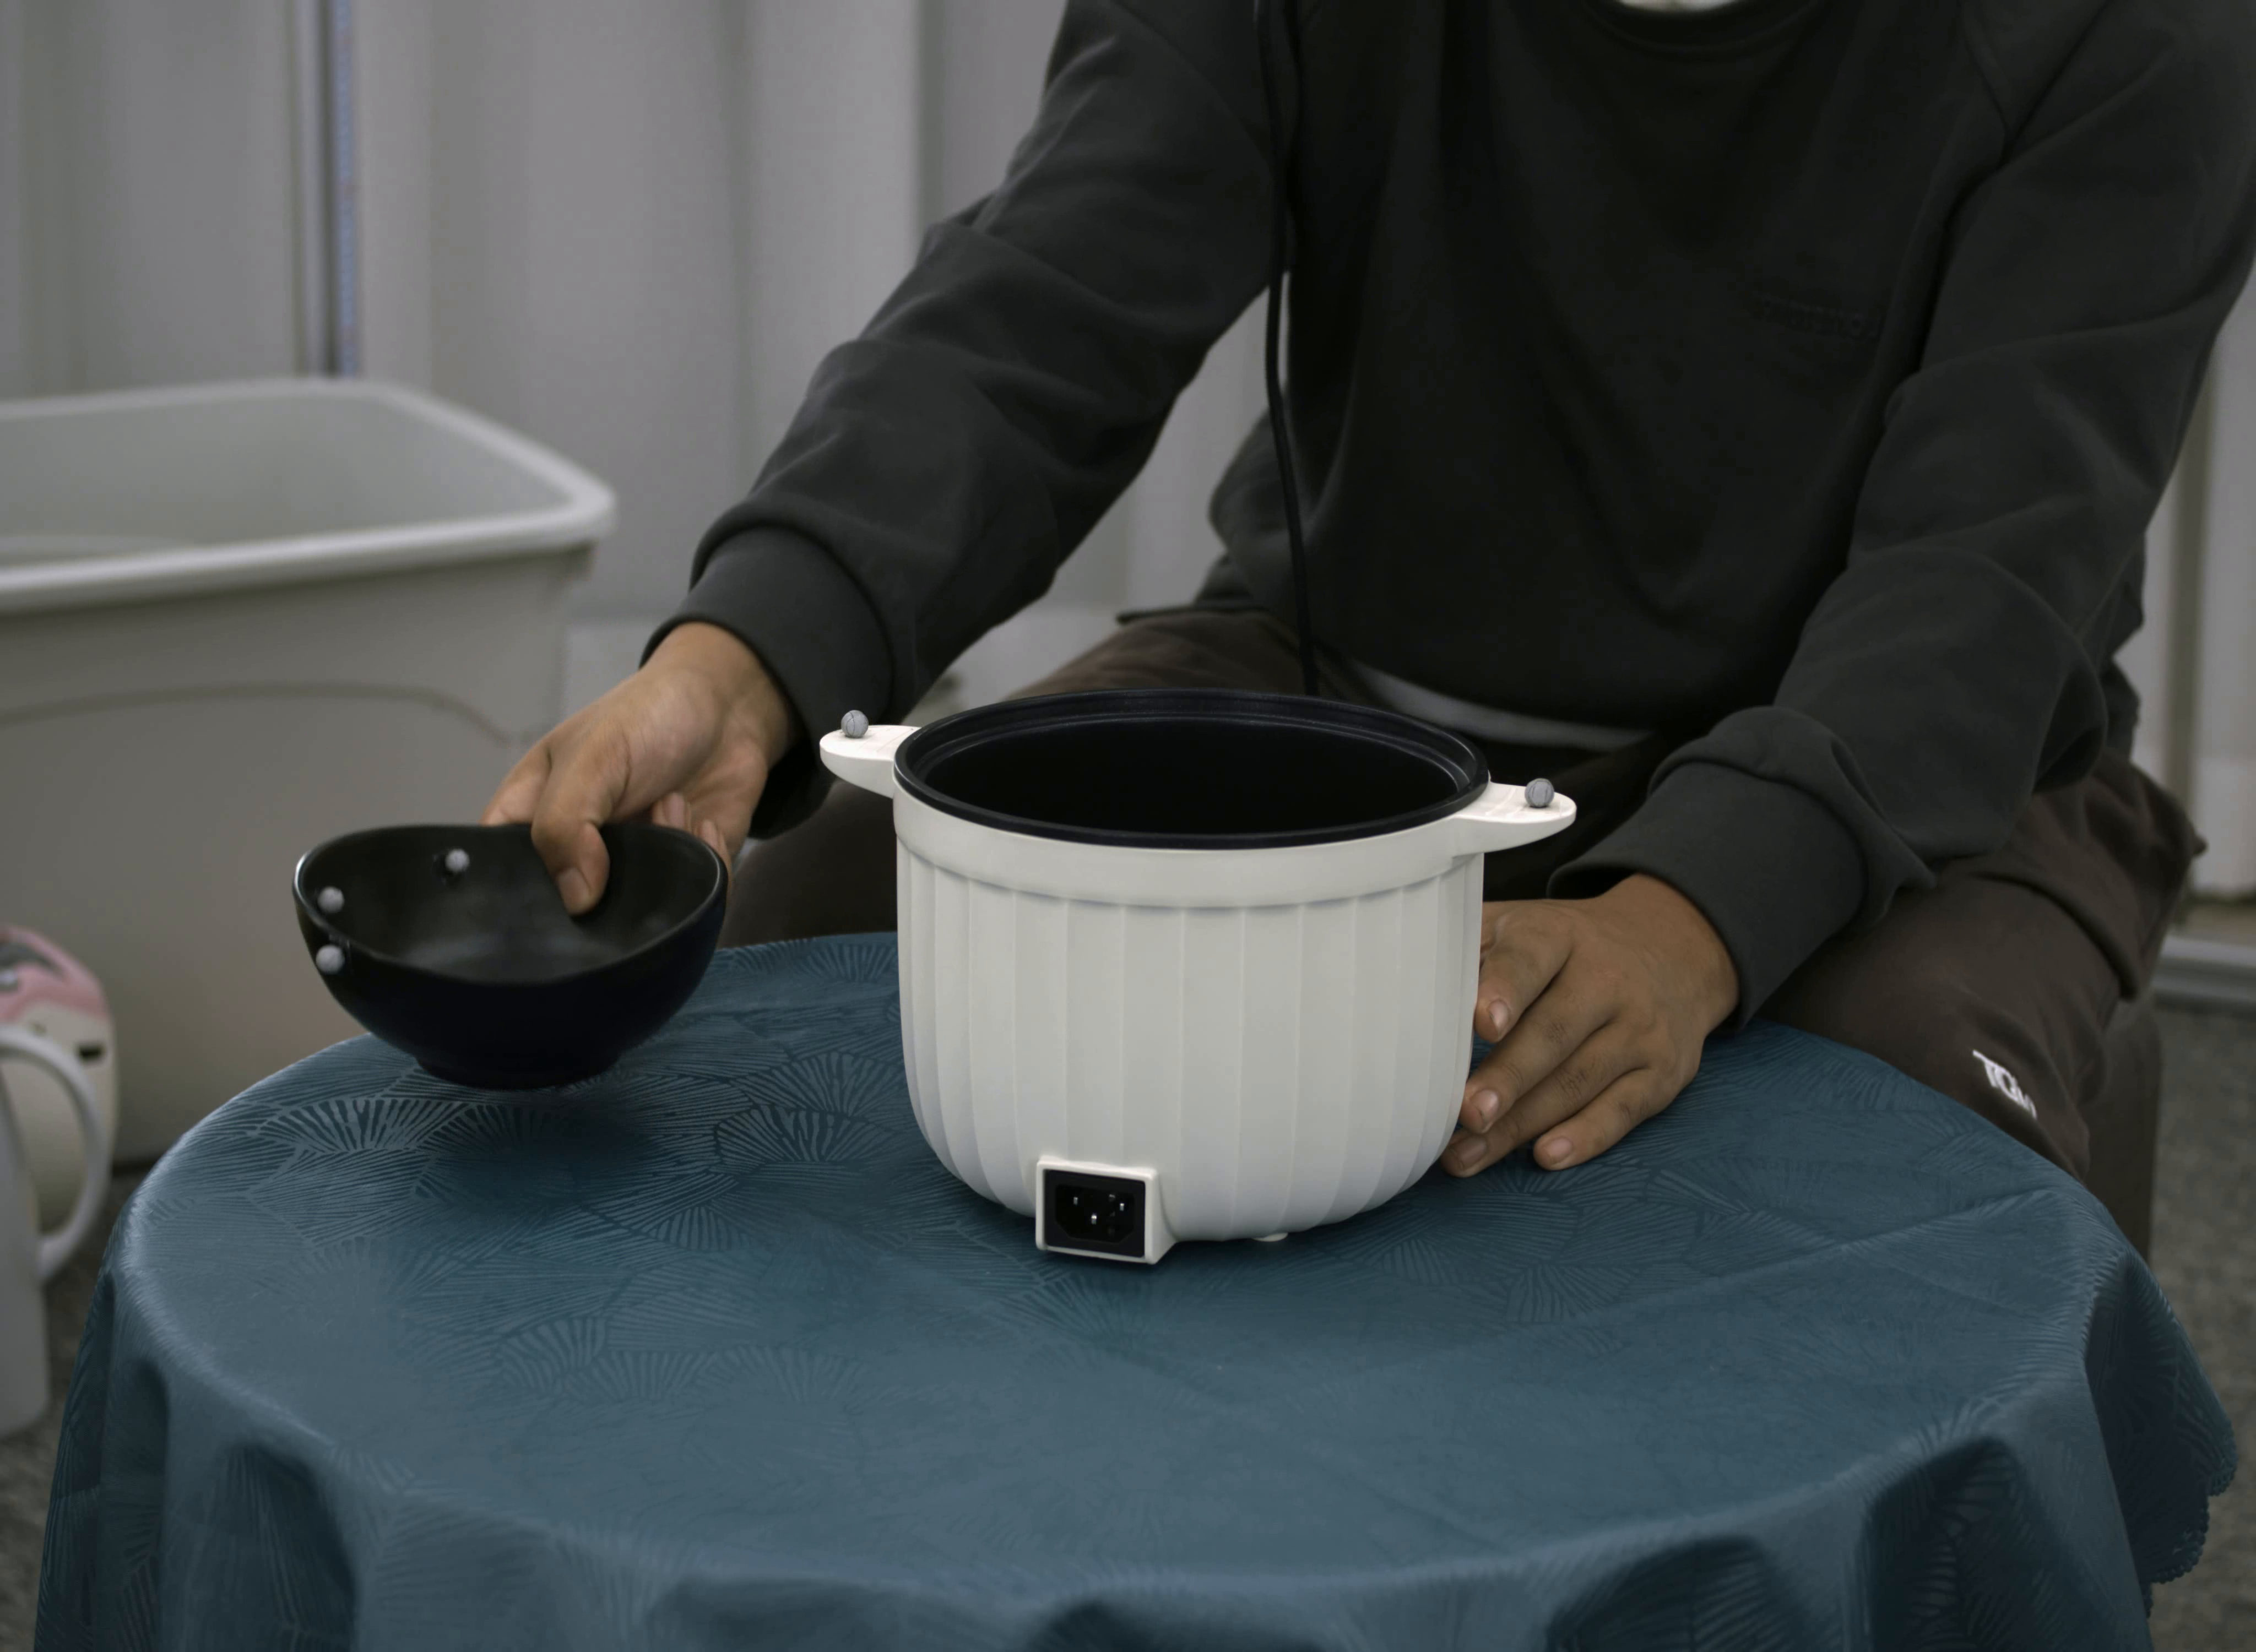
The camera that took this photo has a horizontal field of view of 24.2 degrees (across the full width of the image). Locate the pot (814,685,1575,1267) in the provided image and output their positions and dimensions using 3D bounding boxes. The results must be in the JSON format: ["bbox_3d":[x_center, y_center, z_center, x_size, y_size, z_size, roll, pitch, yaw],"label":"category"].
[{"bbox_3d":[0.018,0.042,1.622,0.238,0.144,0.190,7,20,16],"label":"pot"}]

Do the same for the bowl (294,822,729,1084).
[{"bbox_3d":[-0.195,0.042,1.681,0.137,0.067,0.169,-2,17,-5],"label":"bowl"}]
